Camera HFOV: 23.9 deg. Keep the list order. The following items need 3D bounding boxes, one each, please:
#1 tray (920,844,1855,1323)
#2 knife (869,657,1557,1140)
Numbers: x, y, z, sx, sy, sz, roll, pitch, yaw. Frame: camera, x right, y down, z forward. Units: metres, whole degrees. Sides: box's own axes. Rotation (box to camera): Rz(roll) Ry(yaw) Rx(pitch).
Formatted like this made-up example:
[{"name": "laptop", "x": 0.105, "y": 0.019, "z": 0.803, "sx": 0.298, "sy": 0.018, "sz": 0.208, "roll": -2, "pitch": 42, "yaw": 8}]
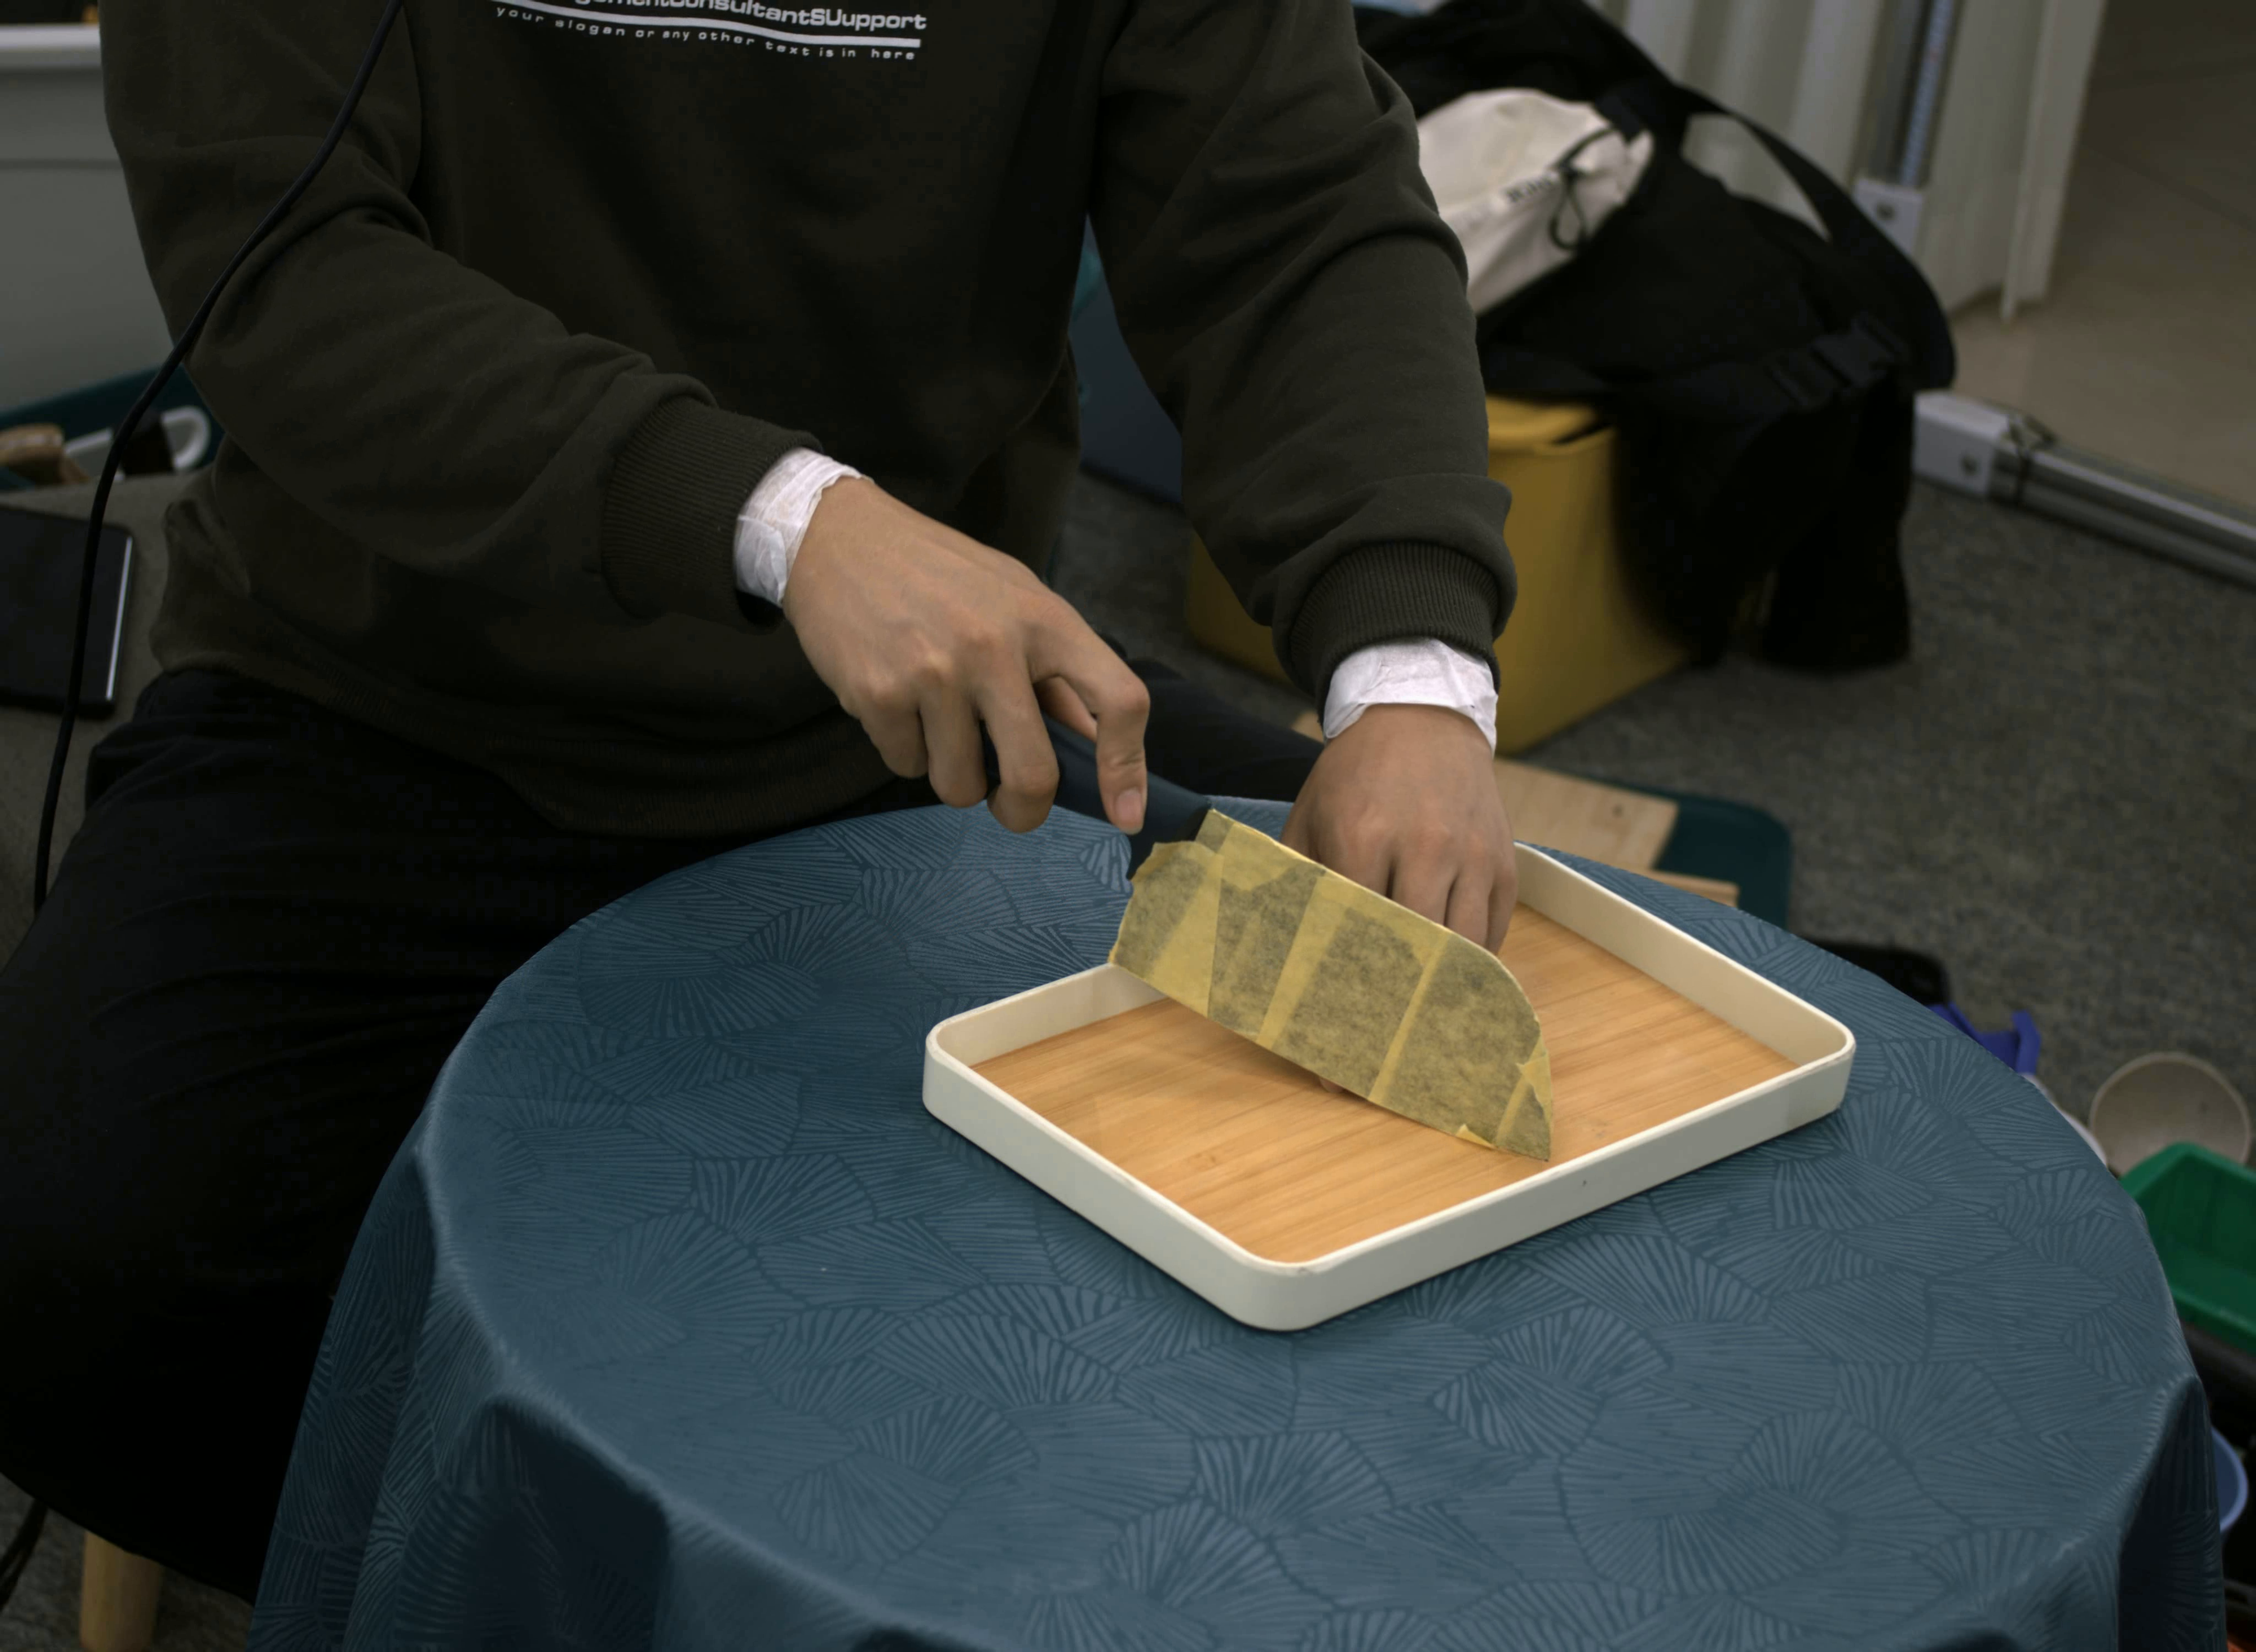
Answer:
[{"name": "tray", "x": 0.093, "y": 0.085, "z": 1.874, "sx": 0.298, "sy": 0.027, "sz": 0.193, "roll": -17, "pitch": 34, "yaw": -39}, {"name": "knife", "x": 0.026, "y": 0.025, "z": 1.864, "sx": 0.290, "sy": 0.081, "sz": 0.027, "roll": 31, "pitch": 23, "yaw": 14}]
